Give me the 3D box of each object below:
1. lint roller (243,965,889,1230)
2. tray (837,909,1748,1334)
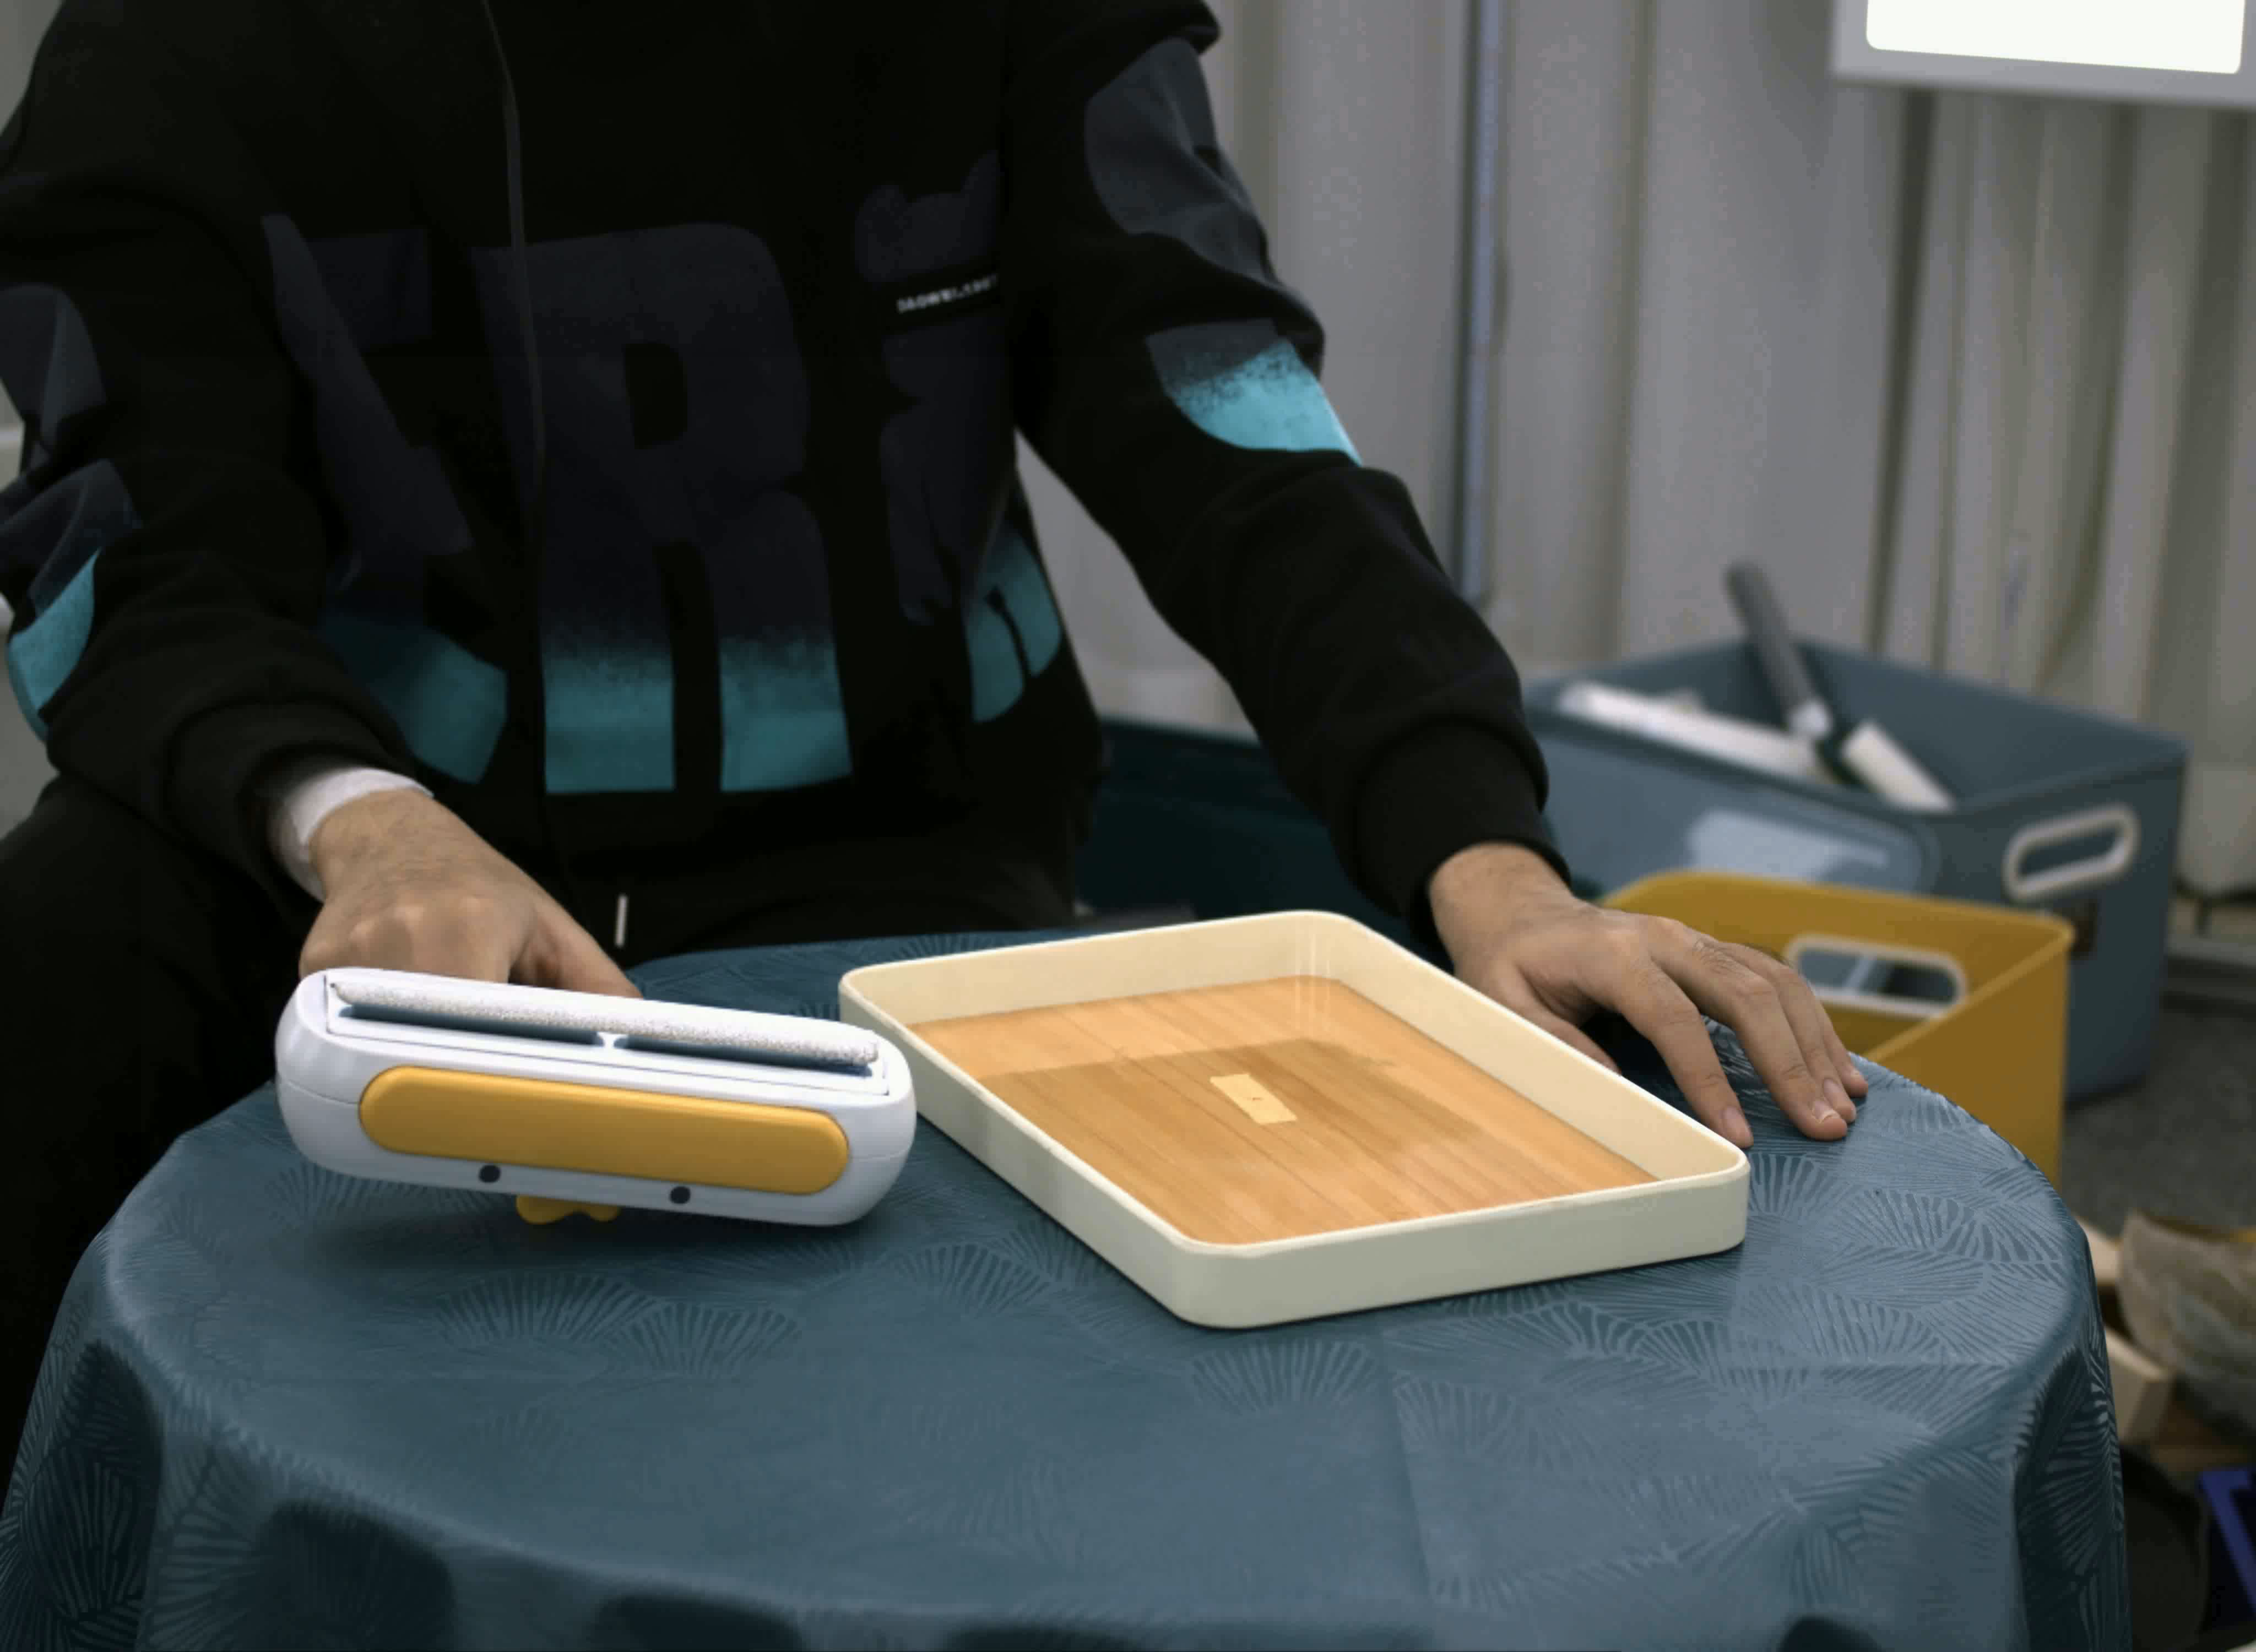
[{"bbox_3d":[-0.175,0.073,1.628,0.193,0.075,0.191,4,13,-9],"label":"lint roller"},{"bbox_3d":[0.045,0.087,1.660,0.192,0.027,0.296,-7,17,-23],"label":"tray"}]
